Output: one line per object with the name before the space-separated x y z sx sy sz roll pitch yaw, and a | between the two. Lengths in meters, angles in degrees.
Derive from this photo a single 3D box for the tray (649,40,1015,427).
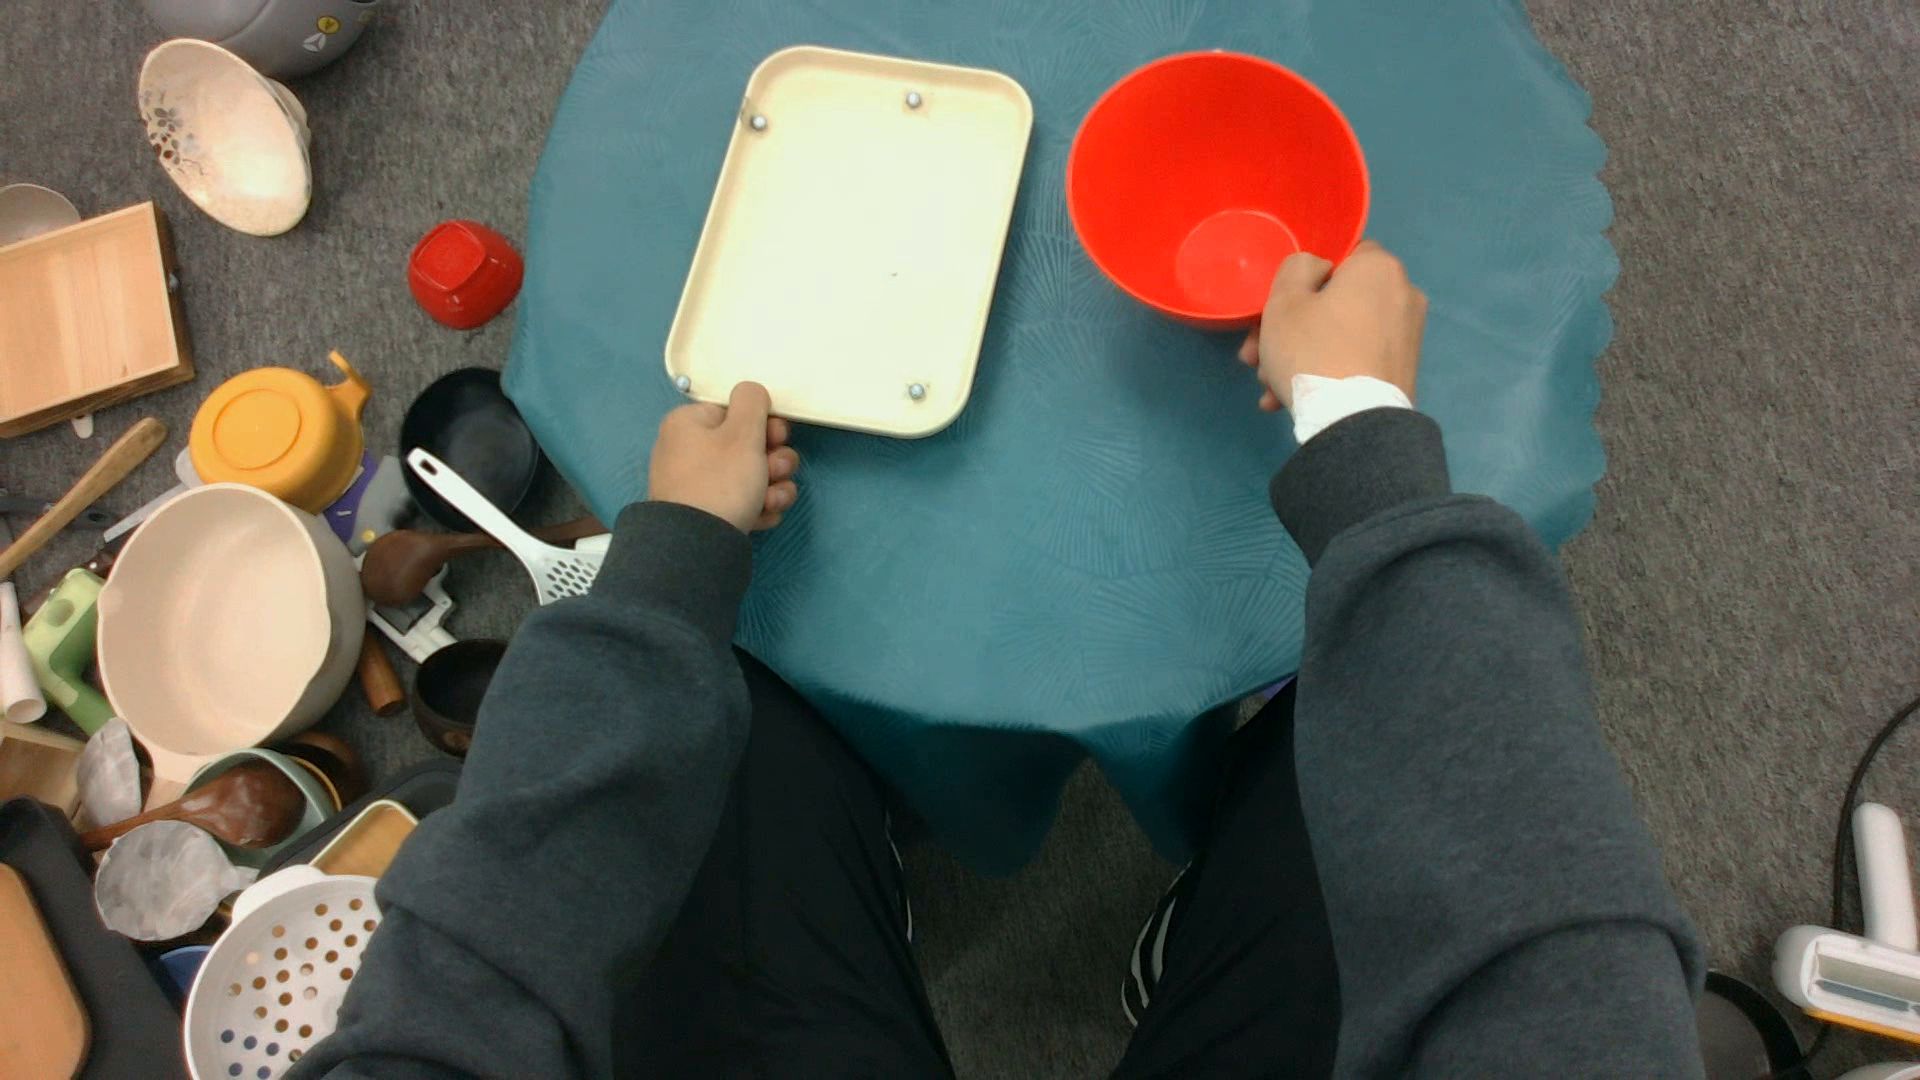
tray | -0.068 -0.176 0.775 0.171 0.017 0.240 10 69 6

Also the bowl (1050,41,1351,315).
bowl | 0.129 -0.175 0.726 0.148 0.104 0.148 -4 72 12
